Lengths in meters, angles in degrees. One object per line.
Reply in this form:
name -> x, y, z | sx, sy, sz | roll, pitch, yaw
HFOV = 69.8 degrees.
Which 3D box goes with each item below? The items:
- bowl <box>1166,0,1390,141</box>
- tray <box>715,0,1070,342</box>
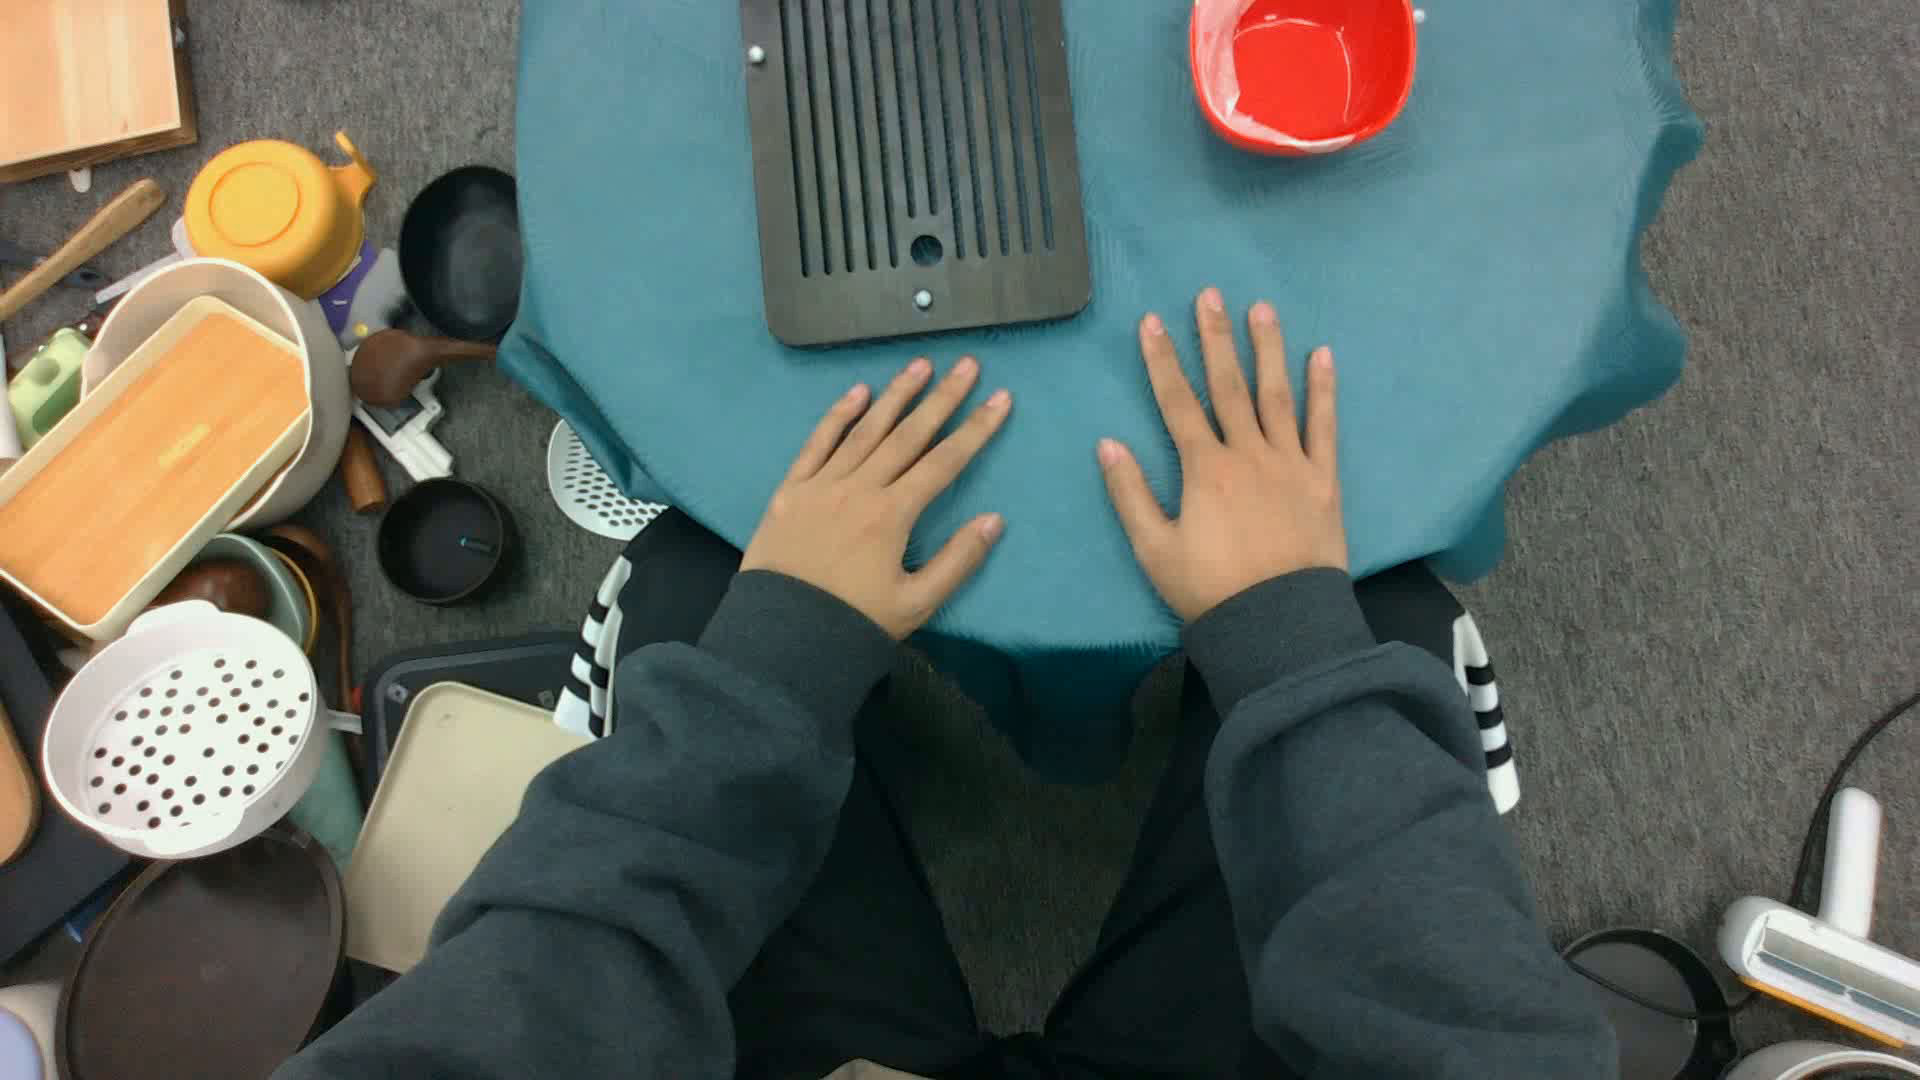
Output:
bowl -> 0.158, -0.248, 0.704 | 0.119, 0.051, 0.119 | 0, 76, 1
tray -> -0.043, -0.259, 0.735 | 0.170, 0.018, 0.306 | -6, 81, 1
